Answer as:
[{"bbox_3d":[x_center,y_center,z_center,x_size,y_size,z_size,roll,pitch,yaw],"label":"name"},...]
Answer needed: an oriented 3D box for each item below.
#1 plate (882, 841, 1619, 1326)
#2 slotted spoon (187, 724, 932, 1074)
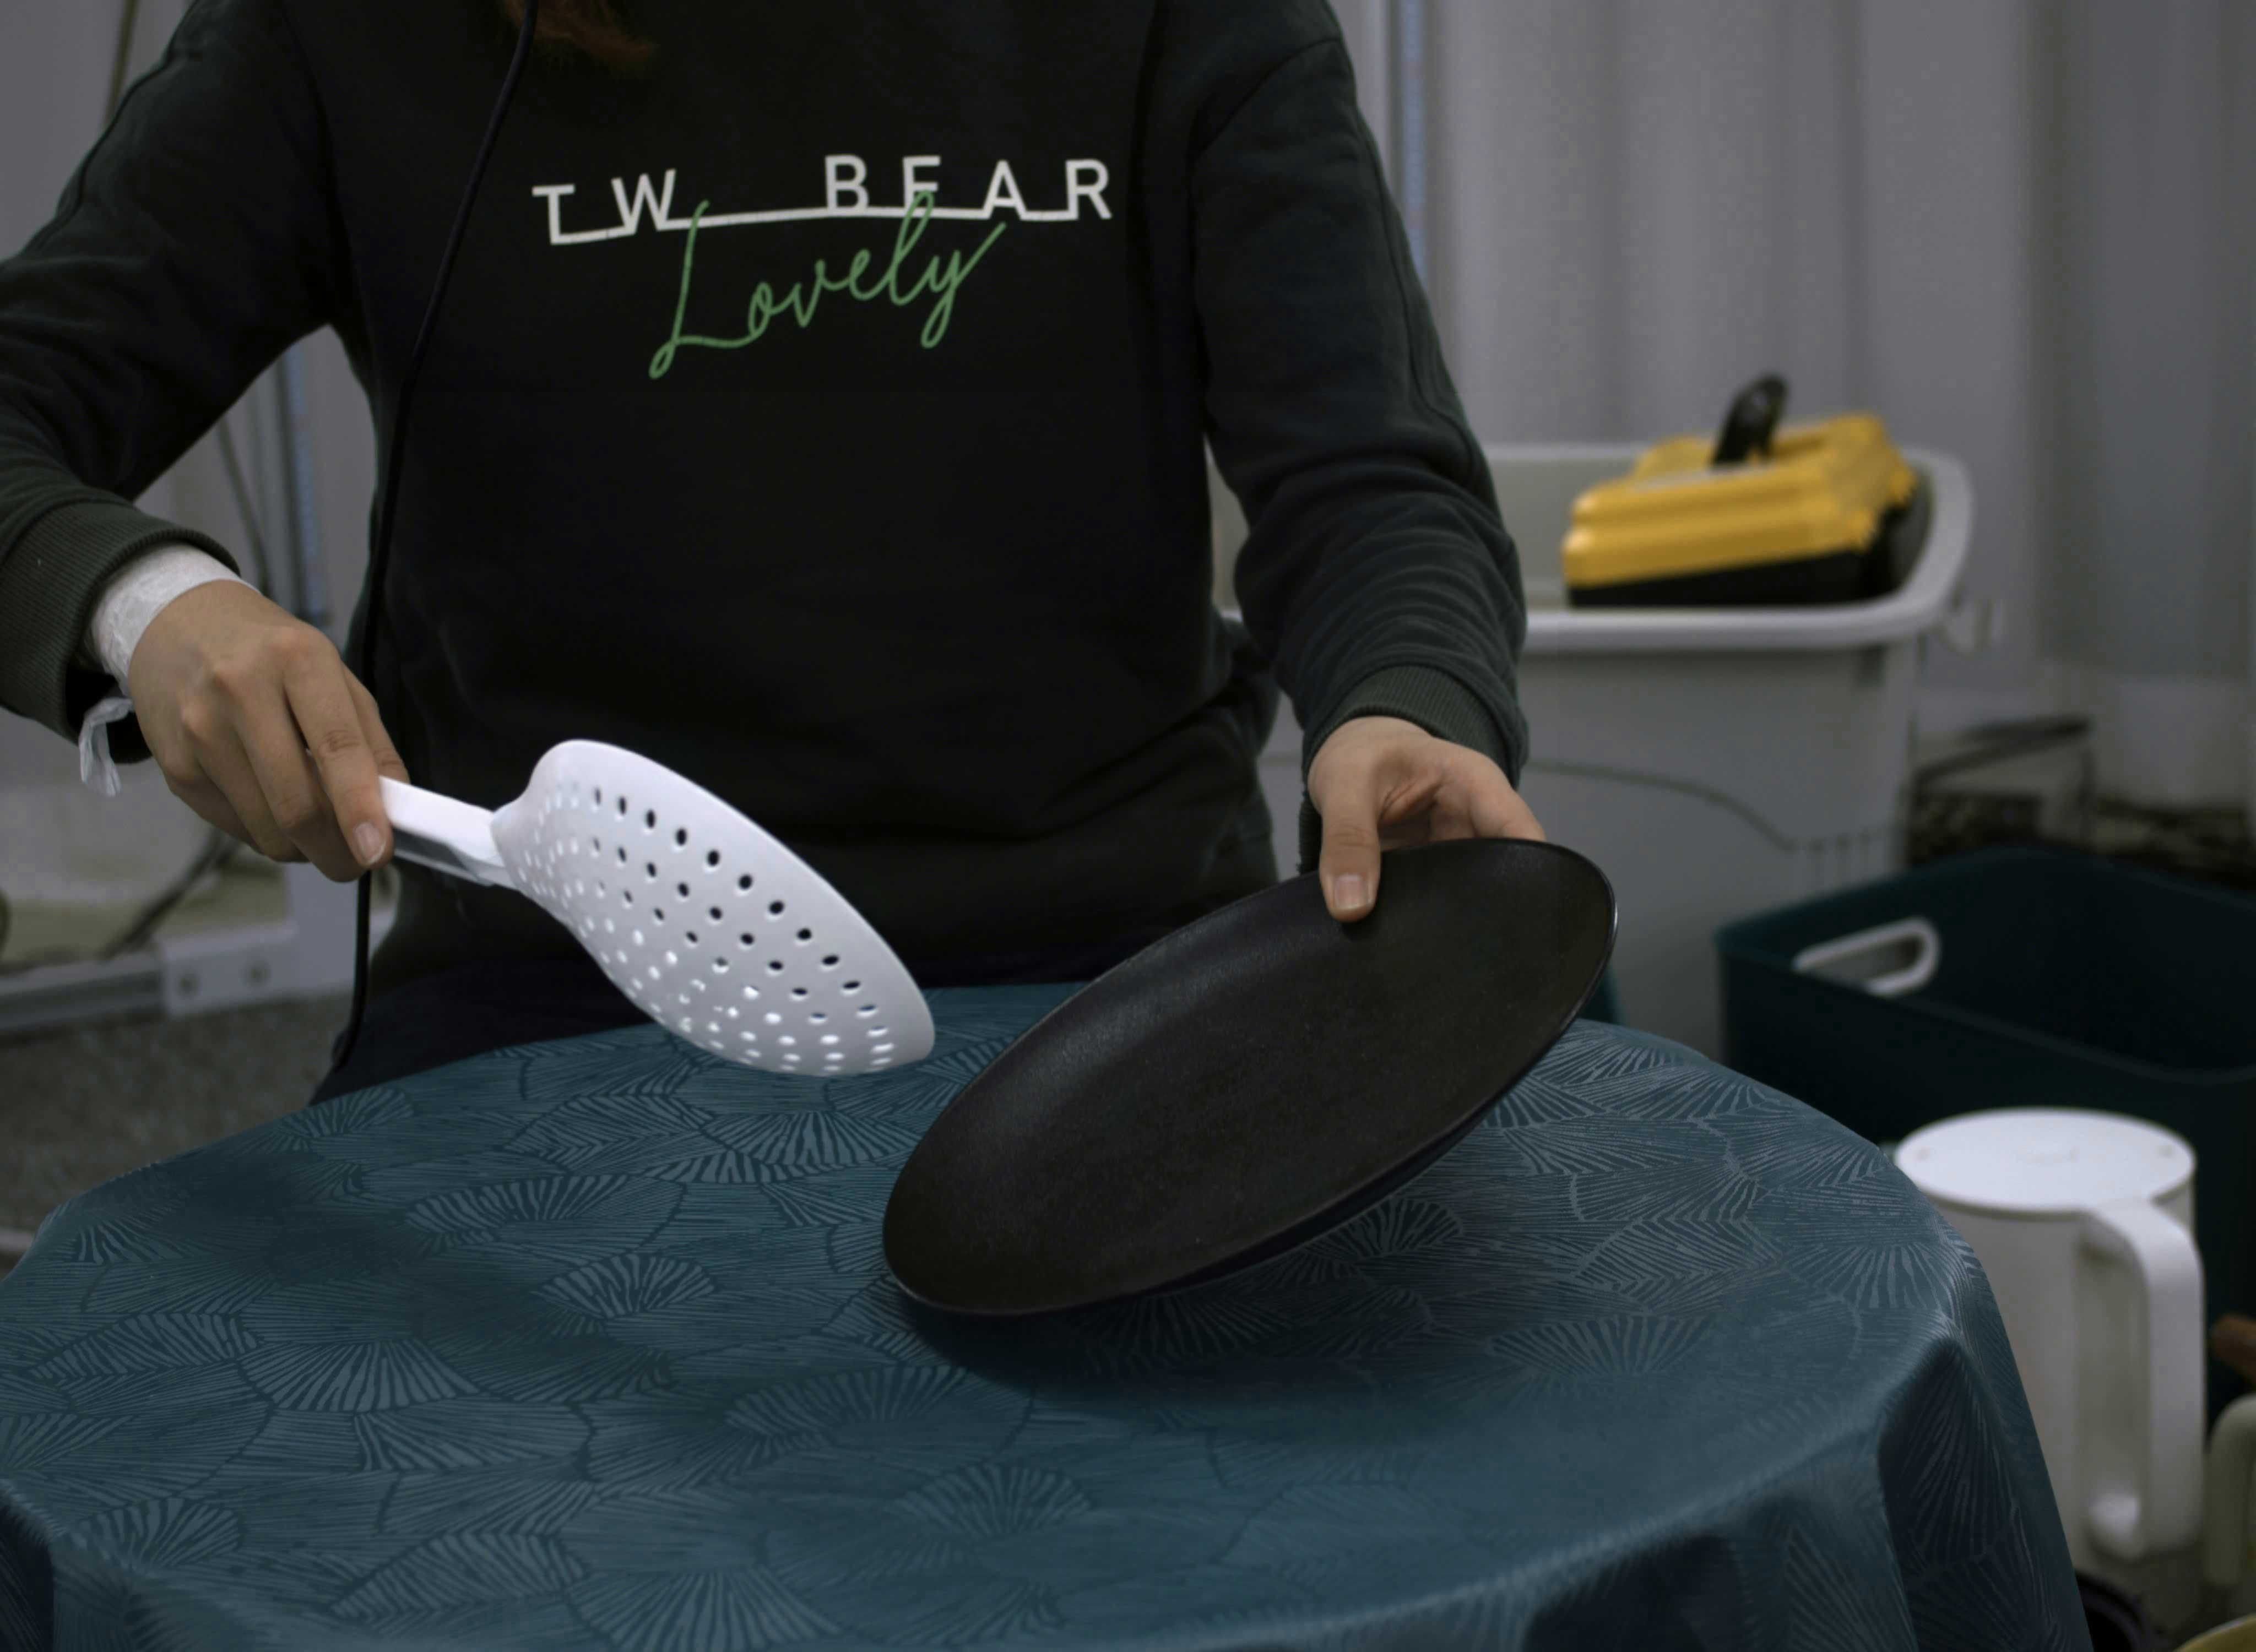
[{"bbox_3d":[0.039,0.080,1.626,0.244,0.023,0.247,-25,20,9],"label":"plate"},{"bbox_3d":[-0.182,0.007,1.619,0.046,0.134,0.352,-47,35,-17],"label":"slotted spoon"}]
